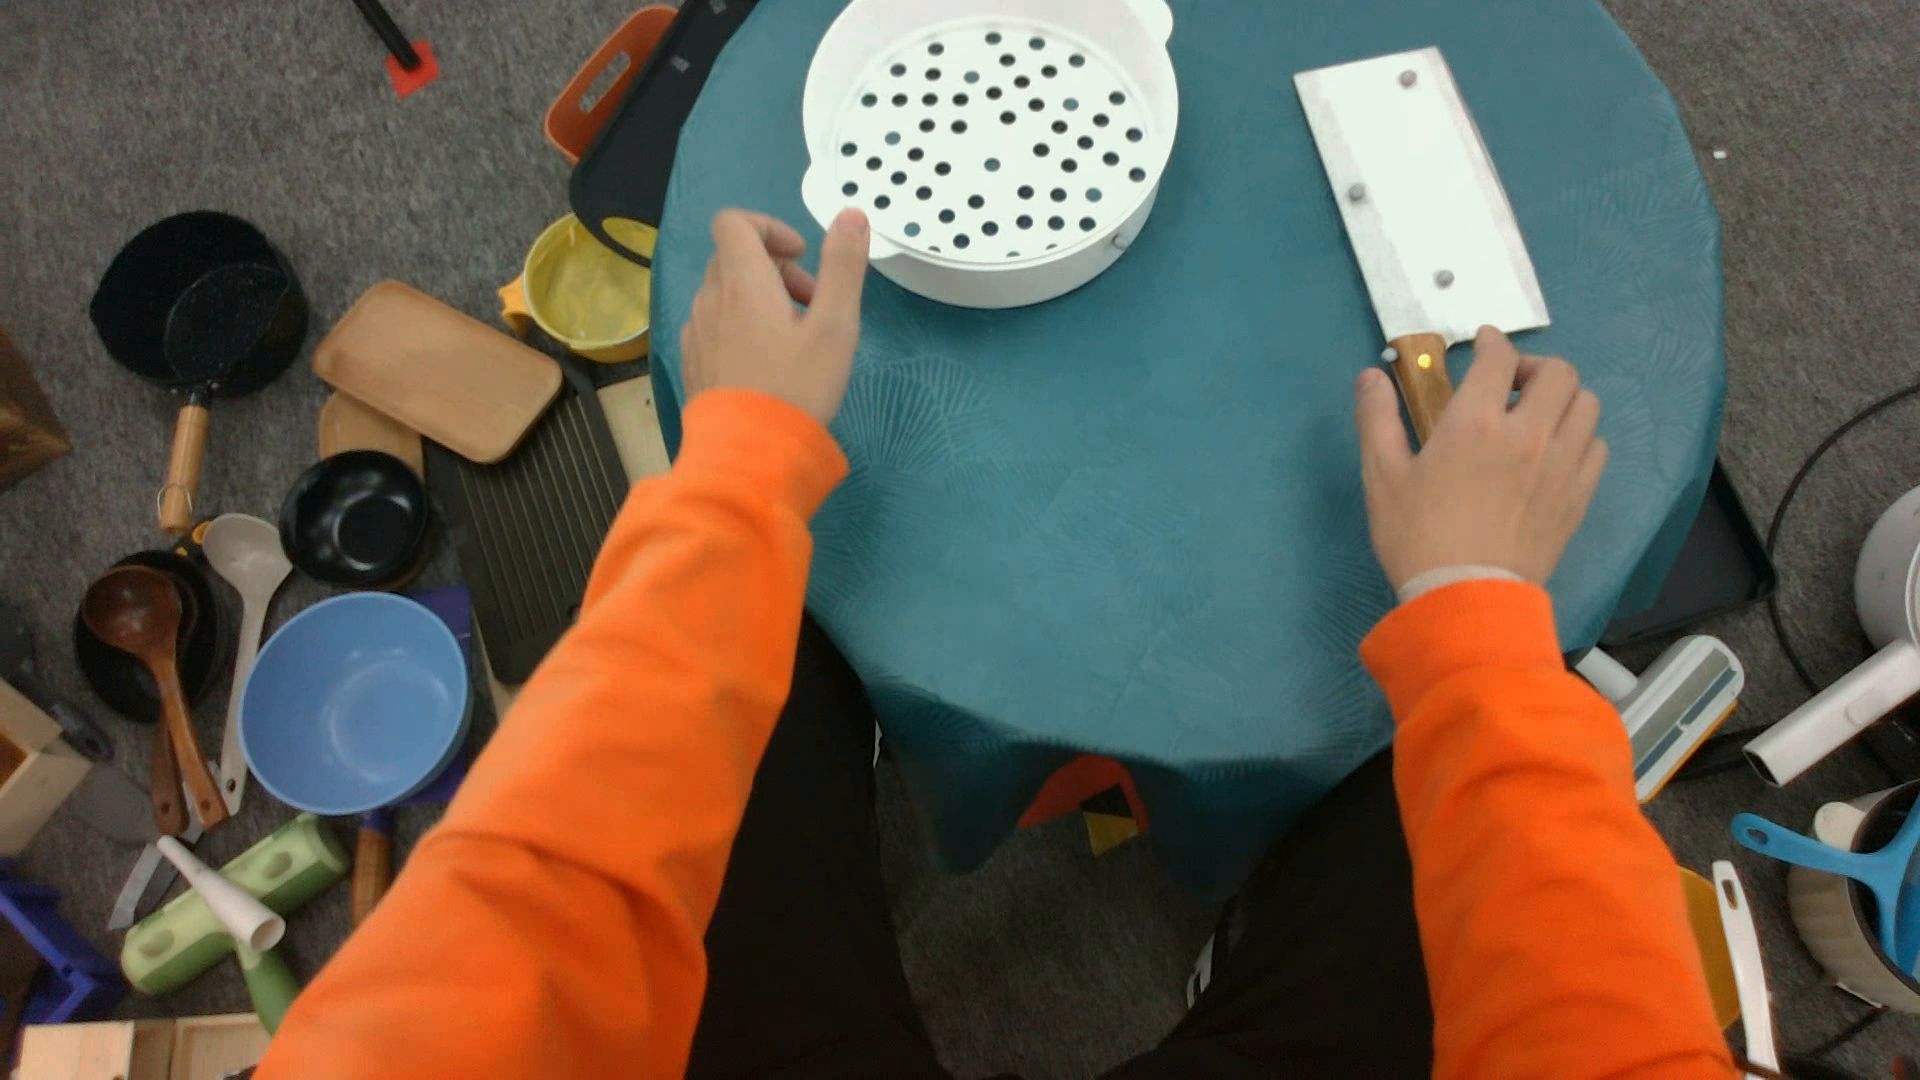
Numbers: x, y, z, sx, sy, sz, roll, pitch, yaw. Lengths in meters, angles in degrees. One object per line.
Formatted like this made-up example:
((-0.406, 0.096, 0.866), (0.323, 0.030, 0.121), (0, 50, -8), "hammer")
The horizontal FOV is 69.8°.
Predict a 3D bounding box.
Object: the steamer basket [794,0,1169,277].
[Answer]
((0.012, -0.243, 0.767), (0.231, 0.069, 0.202), (-40, 77, -12), "steamer basket")

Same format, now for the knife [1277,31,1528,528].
((0.259, -0.155, 0.762), (0.093, 0.021, 0.306), (-12, 71, -4), "knife")
